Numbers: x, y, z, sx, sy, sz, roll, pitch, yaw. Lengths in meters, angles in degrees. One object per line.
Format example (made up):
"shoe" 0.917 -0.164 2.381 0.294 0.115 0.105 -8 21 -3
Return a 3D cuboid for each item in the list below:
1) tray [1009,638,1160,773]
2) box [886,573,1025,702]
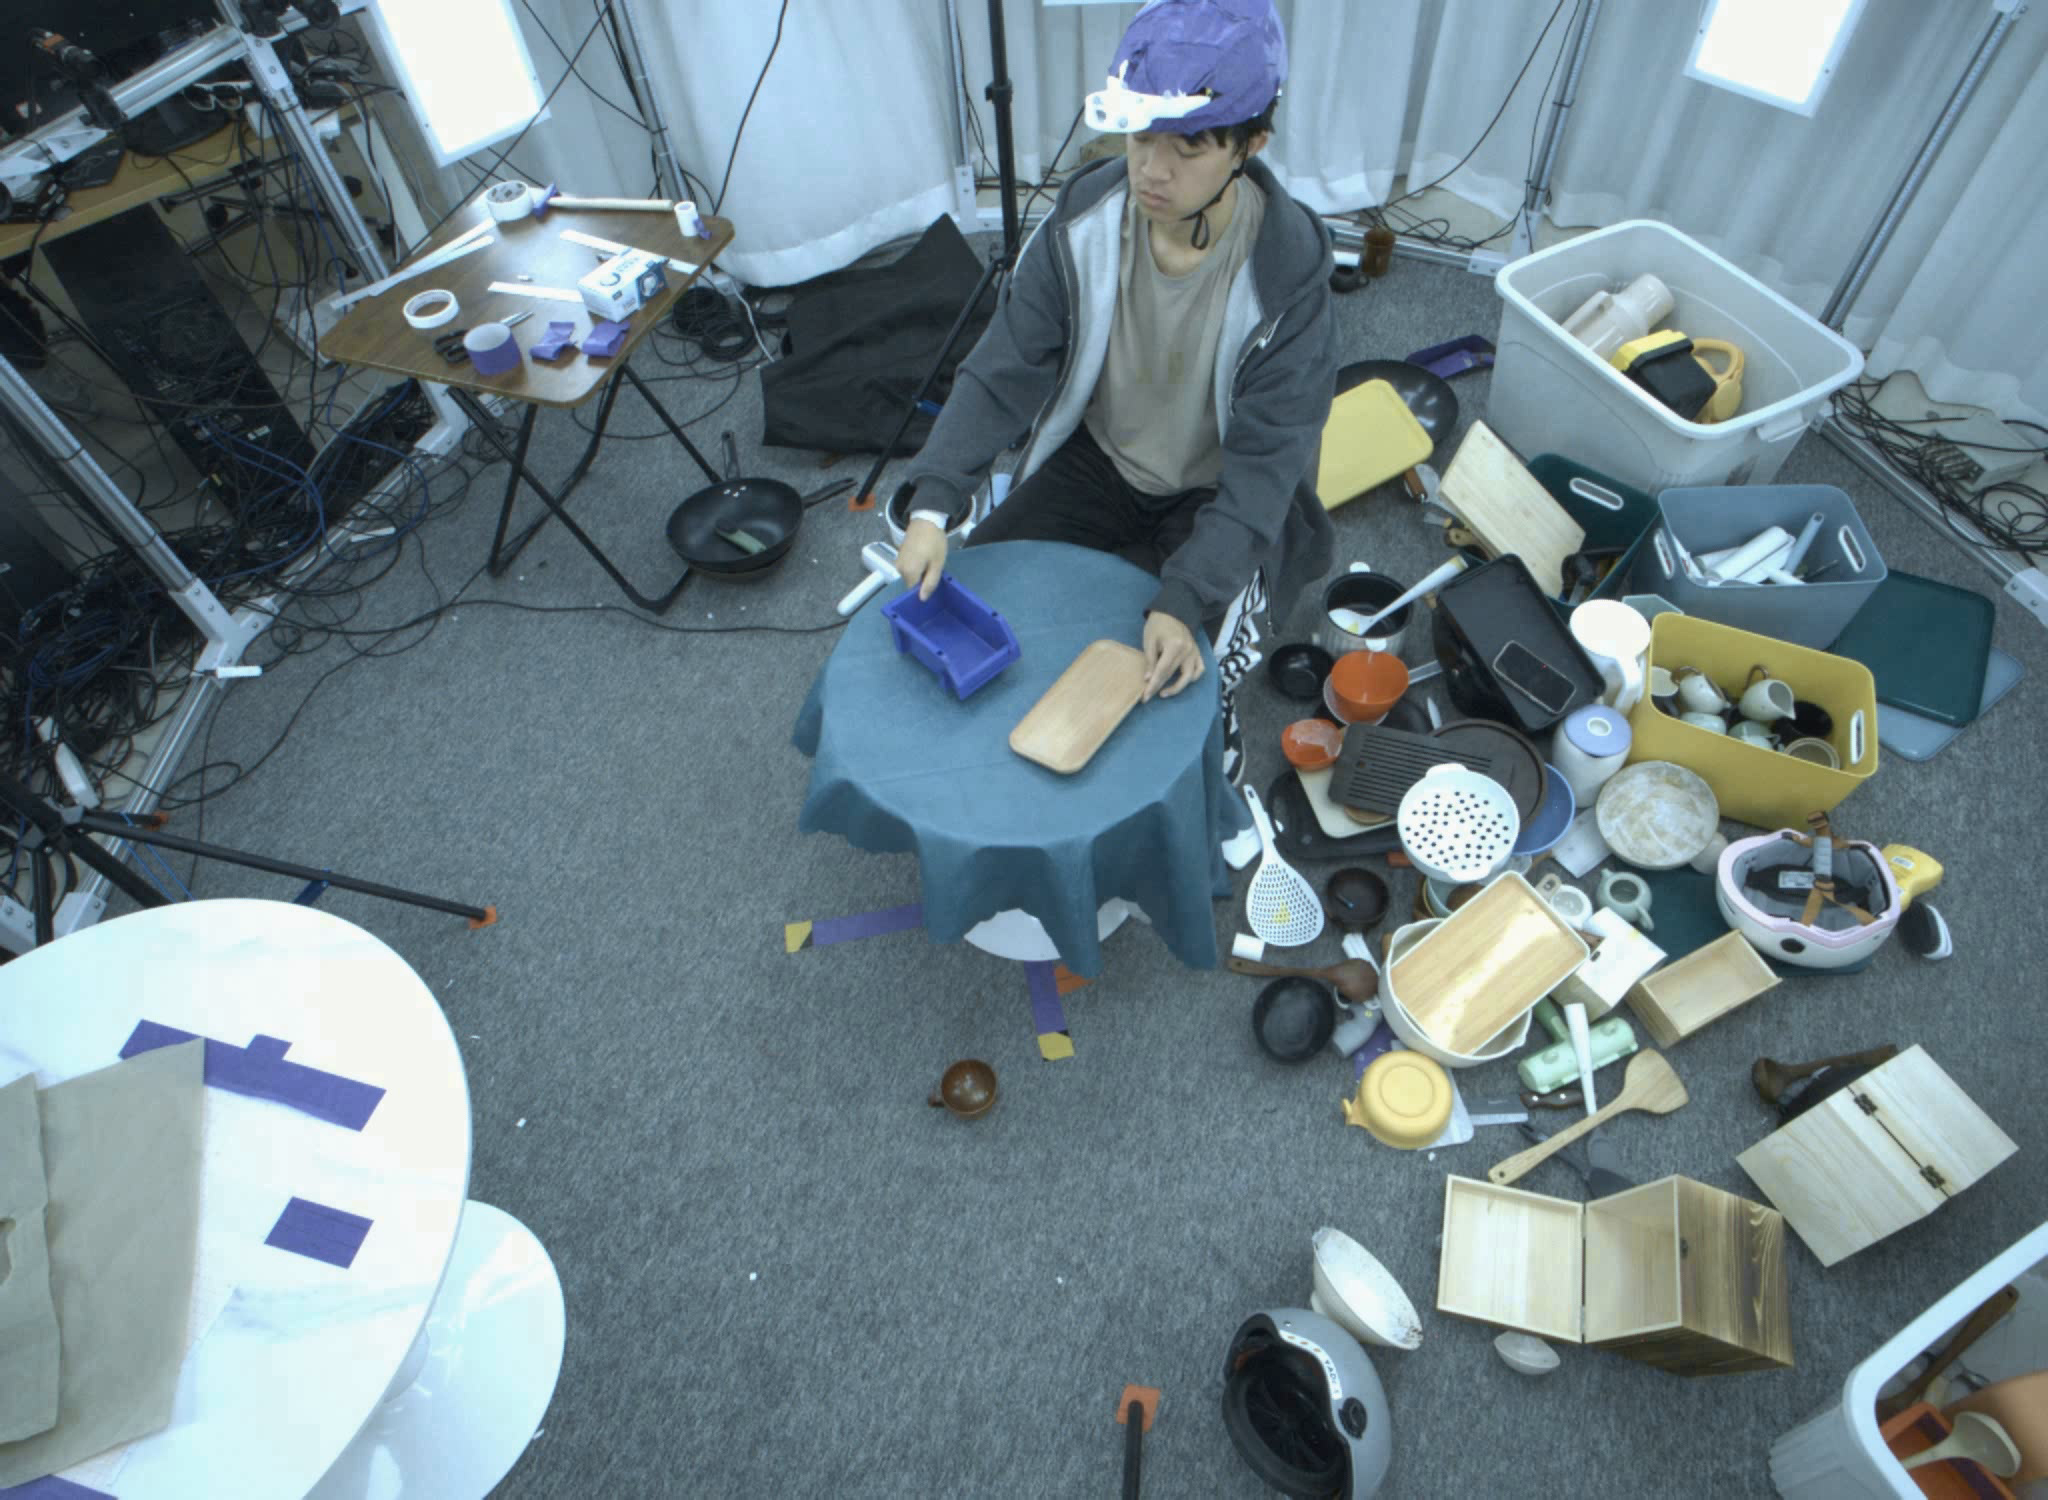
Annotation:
"tray" 0.091 -0.068 1.815 0.128 0.023 0.252 27 59 25
"box" -0.101 -0.168 1.846 0.125 0.083 0.176 -36 57 -21
